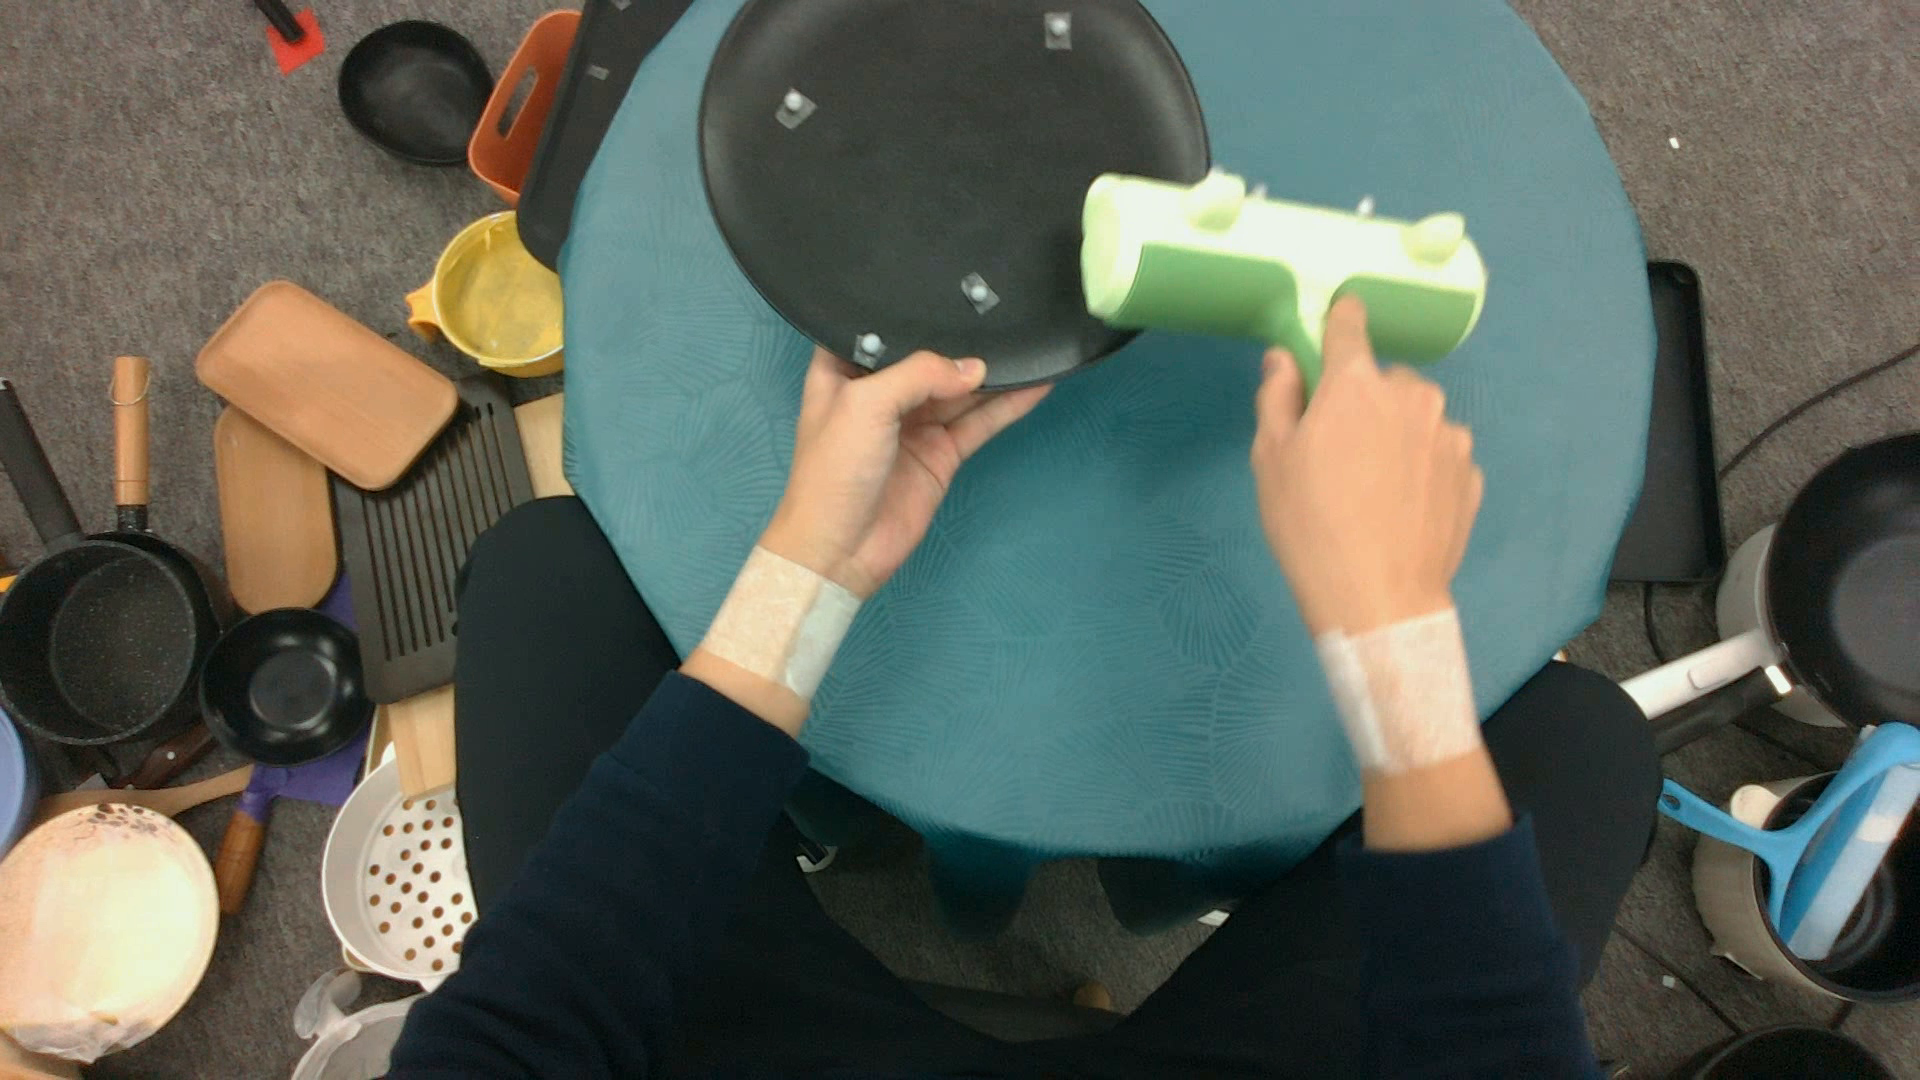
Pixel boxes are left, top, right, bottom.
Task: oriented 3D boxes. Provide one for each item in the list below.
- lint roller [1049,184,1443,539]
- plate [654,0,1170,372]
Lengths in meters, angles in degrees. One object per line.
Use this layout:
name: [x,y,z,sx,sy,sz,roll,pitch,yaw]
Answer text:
lint roller: [0.152,-0.088,0.601,0.199,0.082,0.184,2,42,-24]
plate: [-0.020,-0.191,0.652,0.244,0.023,0.245,2,76,-10]
